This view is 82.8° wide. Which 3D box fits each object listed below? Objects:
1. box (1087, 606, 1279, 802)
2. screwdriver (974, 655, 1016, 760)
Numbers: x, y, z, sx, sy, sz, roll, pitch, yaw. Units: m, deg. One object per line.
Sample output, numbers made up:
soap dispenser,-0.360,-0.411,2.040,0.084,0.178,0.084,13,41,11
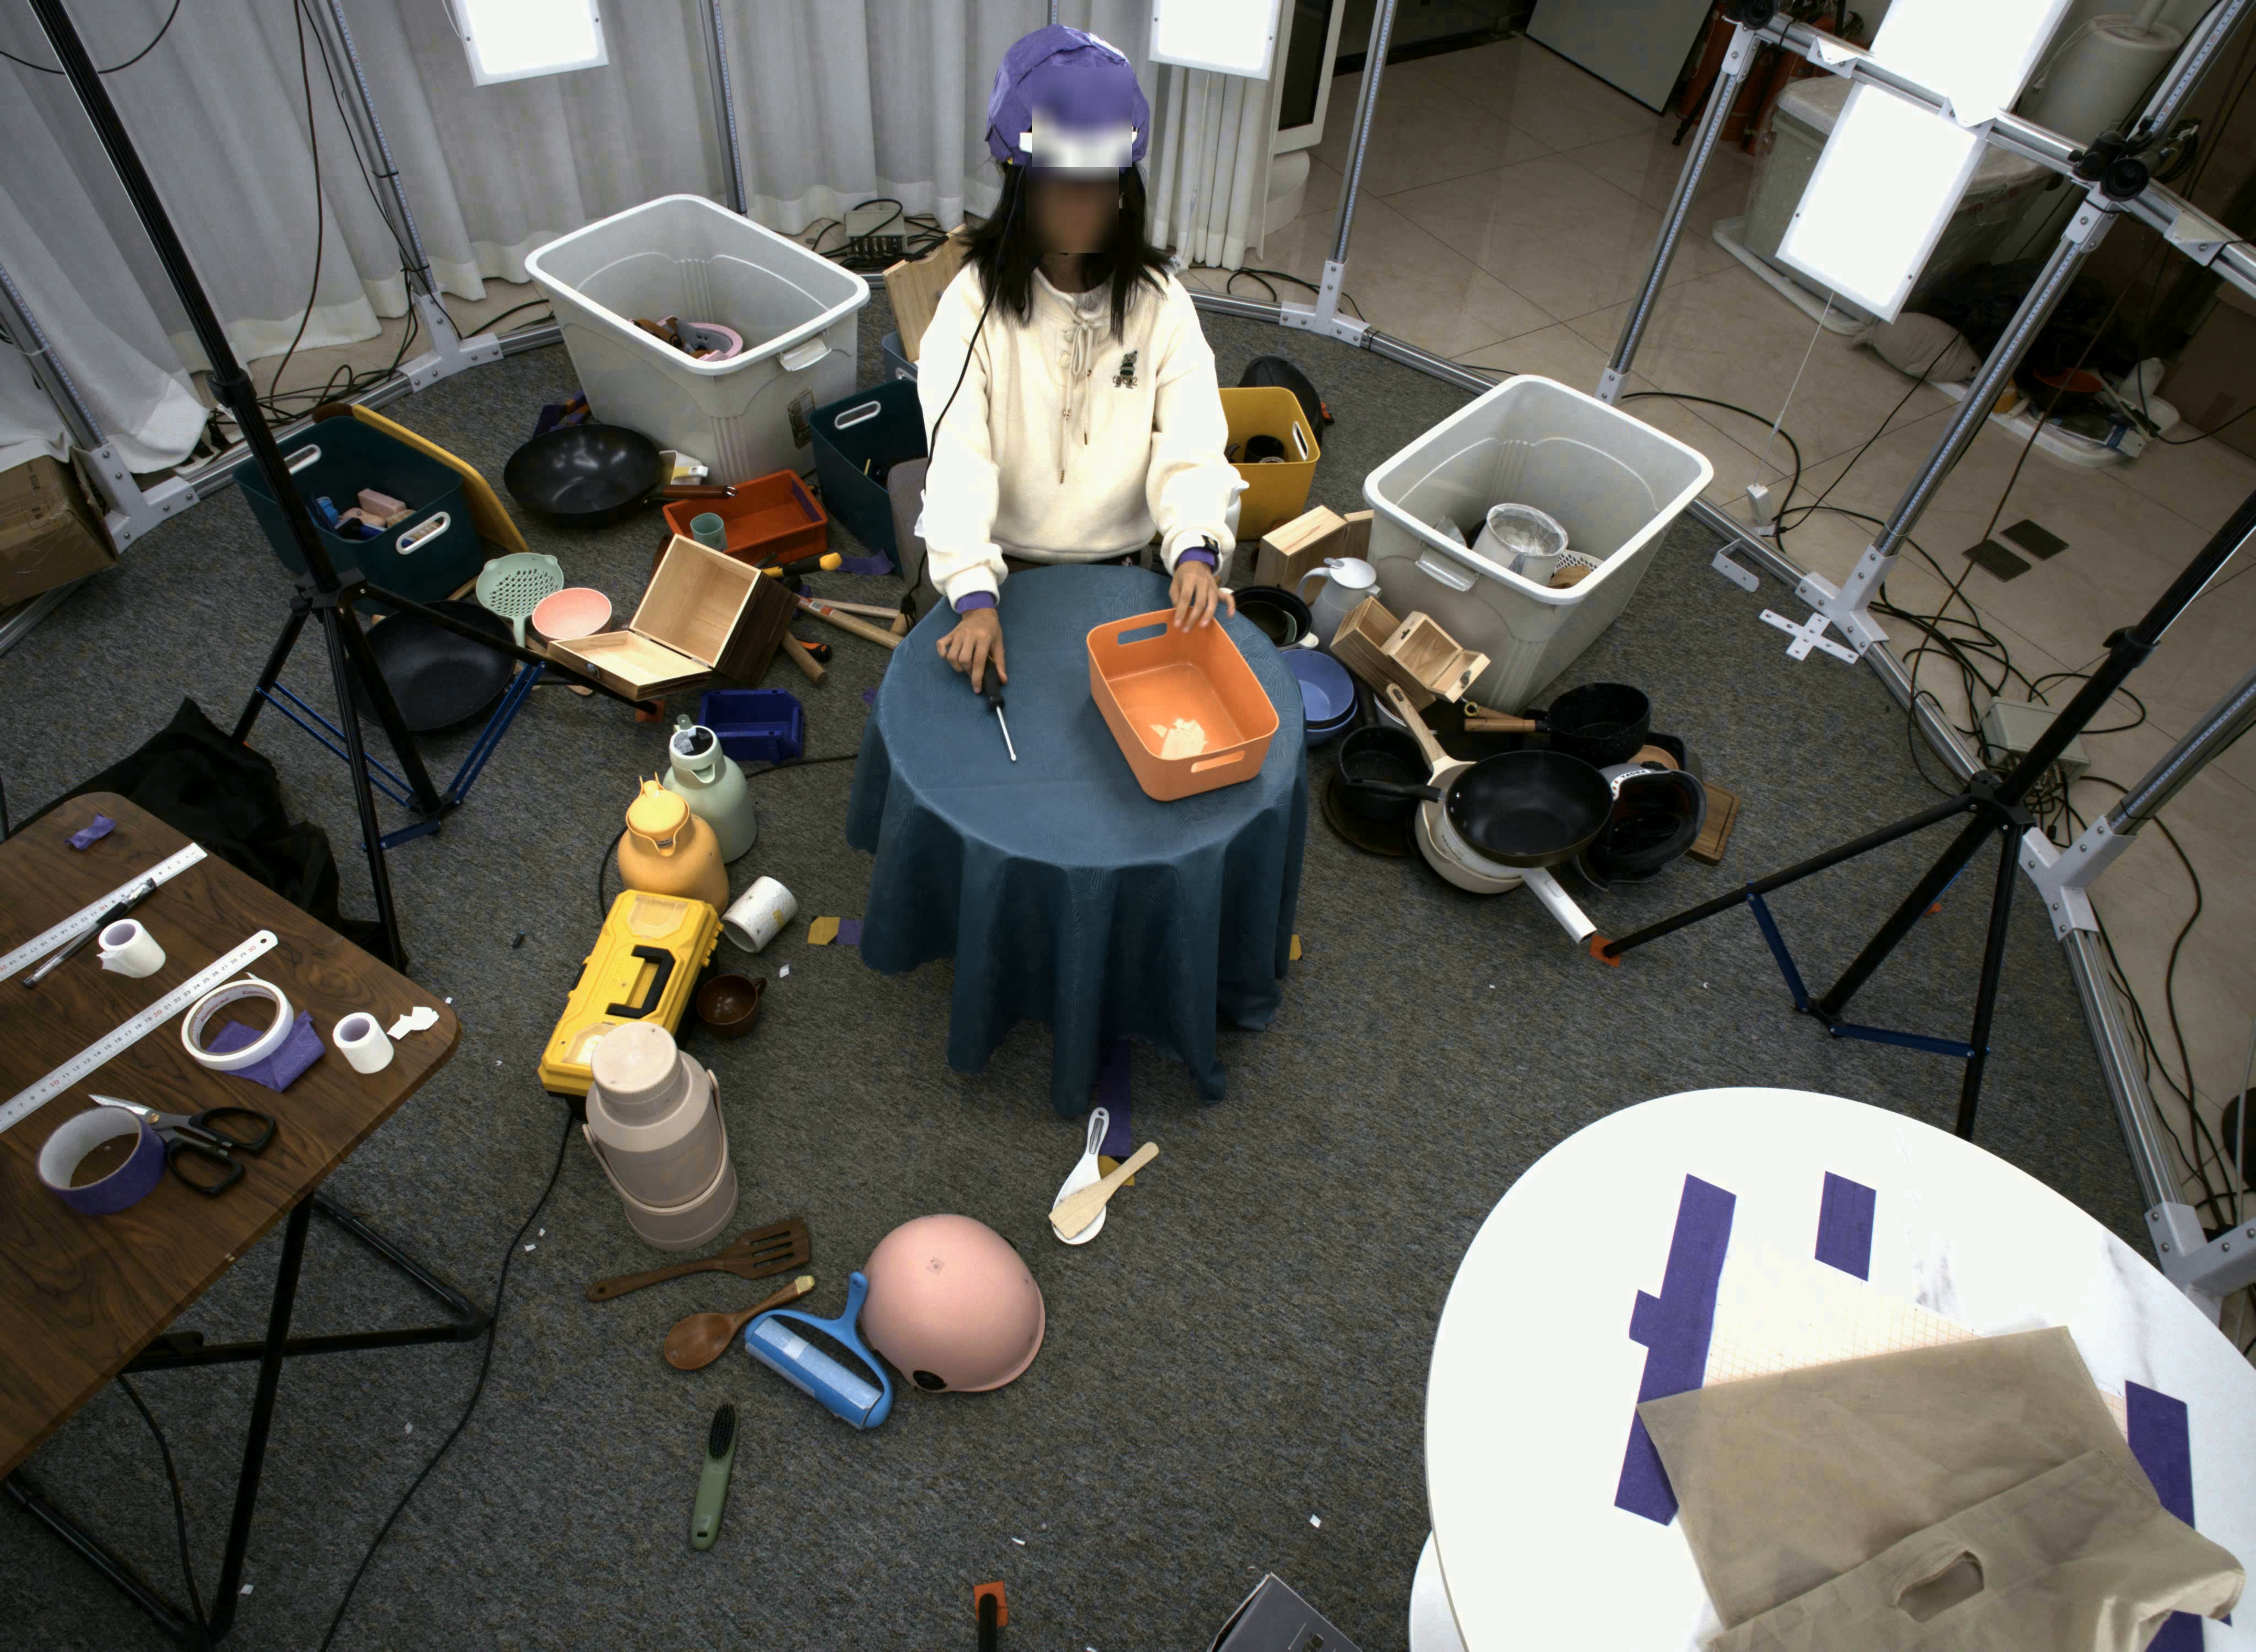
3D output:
box,0.069,-0.166,1.751,0.199,0.100,0.279,-16,53,-16
screwdriver,-0.185,-0.163,1.788,0.031,0.031,0.201,-8,54,-12
